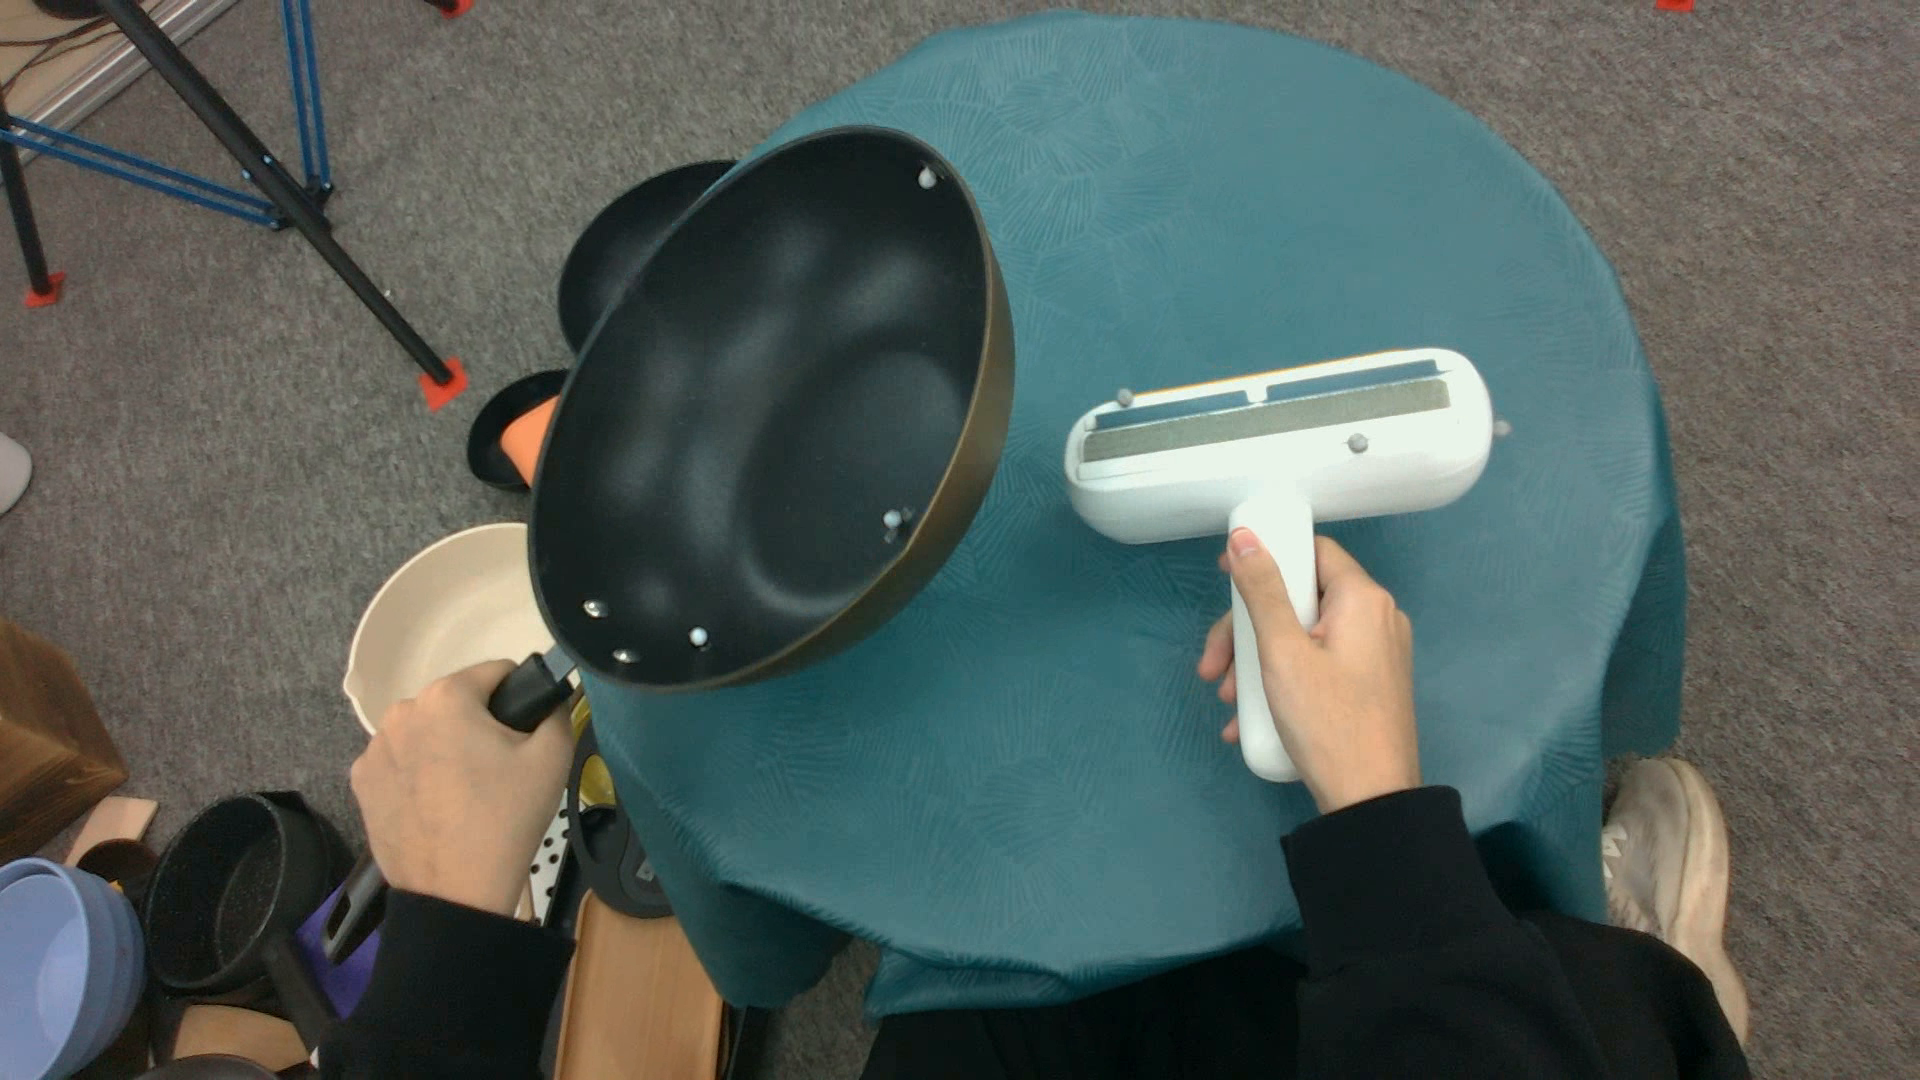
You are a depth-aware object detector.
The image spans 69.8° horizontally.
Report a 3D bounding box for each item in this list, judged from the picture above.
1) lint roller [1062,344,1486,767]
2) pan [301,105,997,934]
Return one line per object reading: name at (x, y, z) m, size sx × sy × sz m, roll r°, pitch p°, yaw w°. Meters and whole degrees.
lint roller at (0.135, 0.004, 0.618) m, size 0.192 × 0.074 × 0.193 m, roll -1°, pitch 58°, yaw 20°
pan at (-0.143, 0.013, 0.648) m, size 0.463 × 0.087 × 0.288 m, roll -52°, pitch 48°, yaw 5°
